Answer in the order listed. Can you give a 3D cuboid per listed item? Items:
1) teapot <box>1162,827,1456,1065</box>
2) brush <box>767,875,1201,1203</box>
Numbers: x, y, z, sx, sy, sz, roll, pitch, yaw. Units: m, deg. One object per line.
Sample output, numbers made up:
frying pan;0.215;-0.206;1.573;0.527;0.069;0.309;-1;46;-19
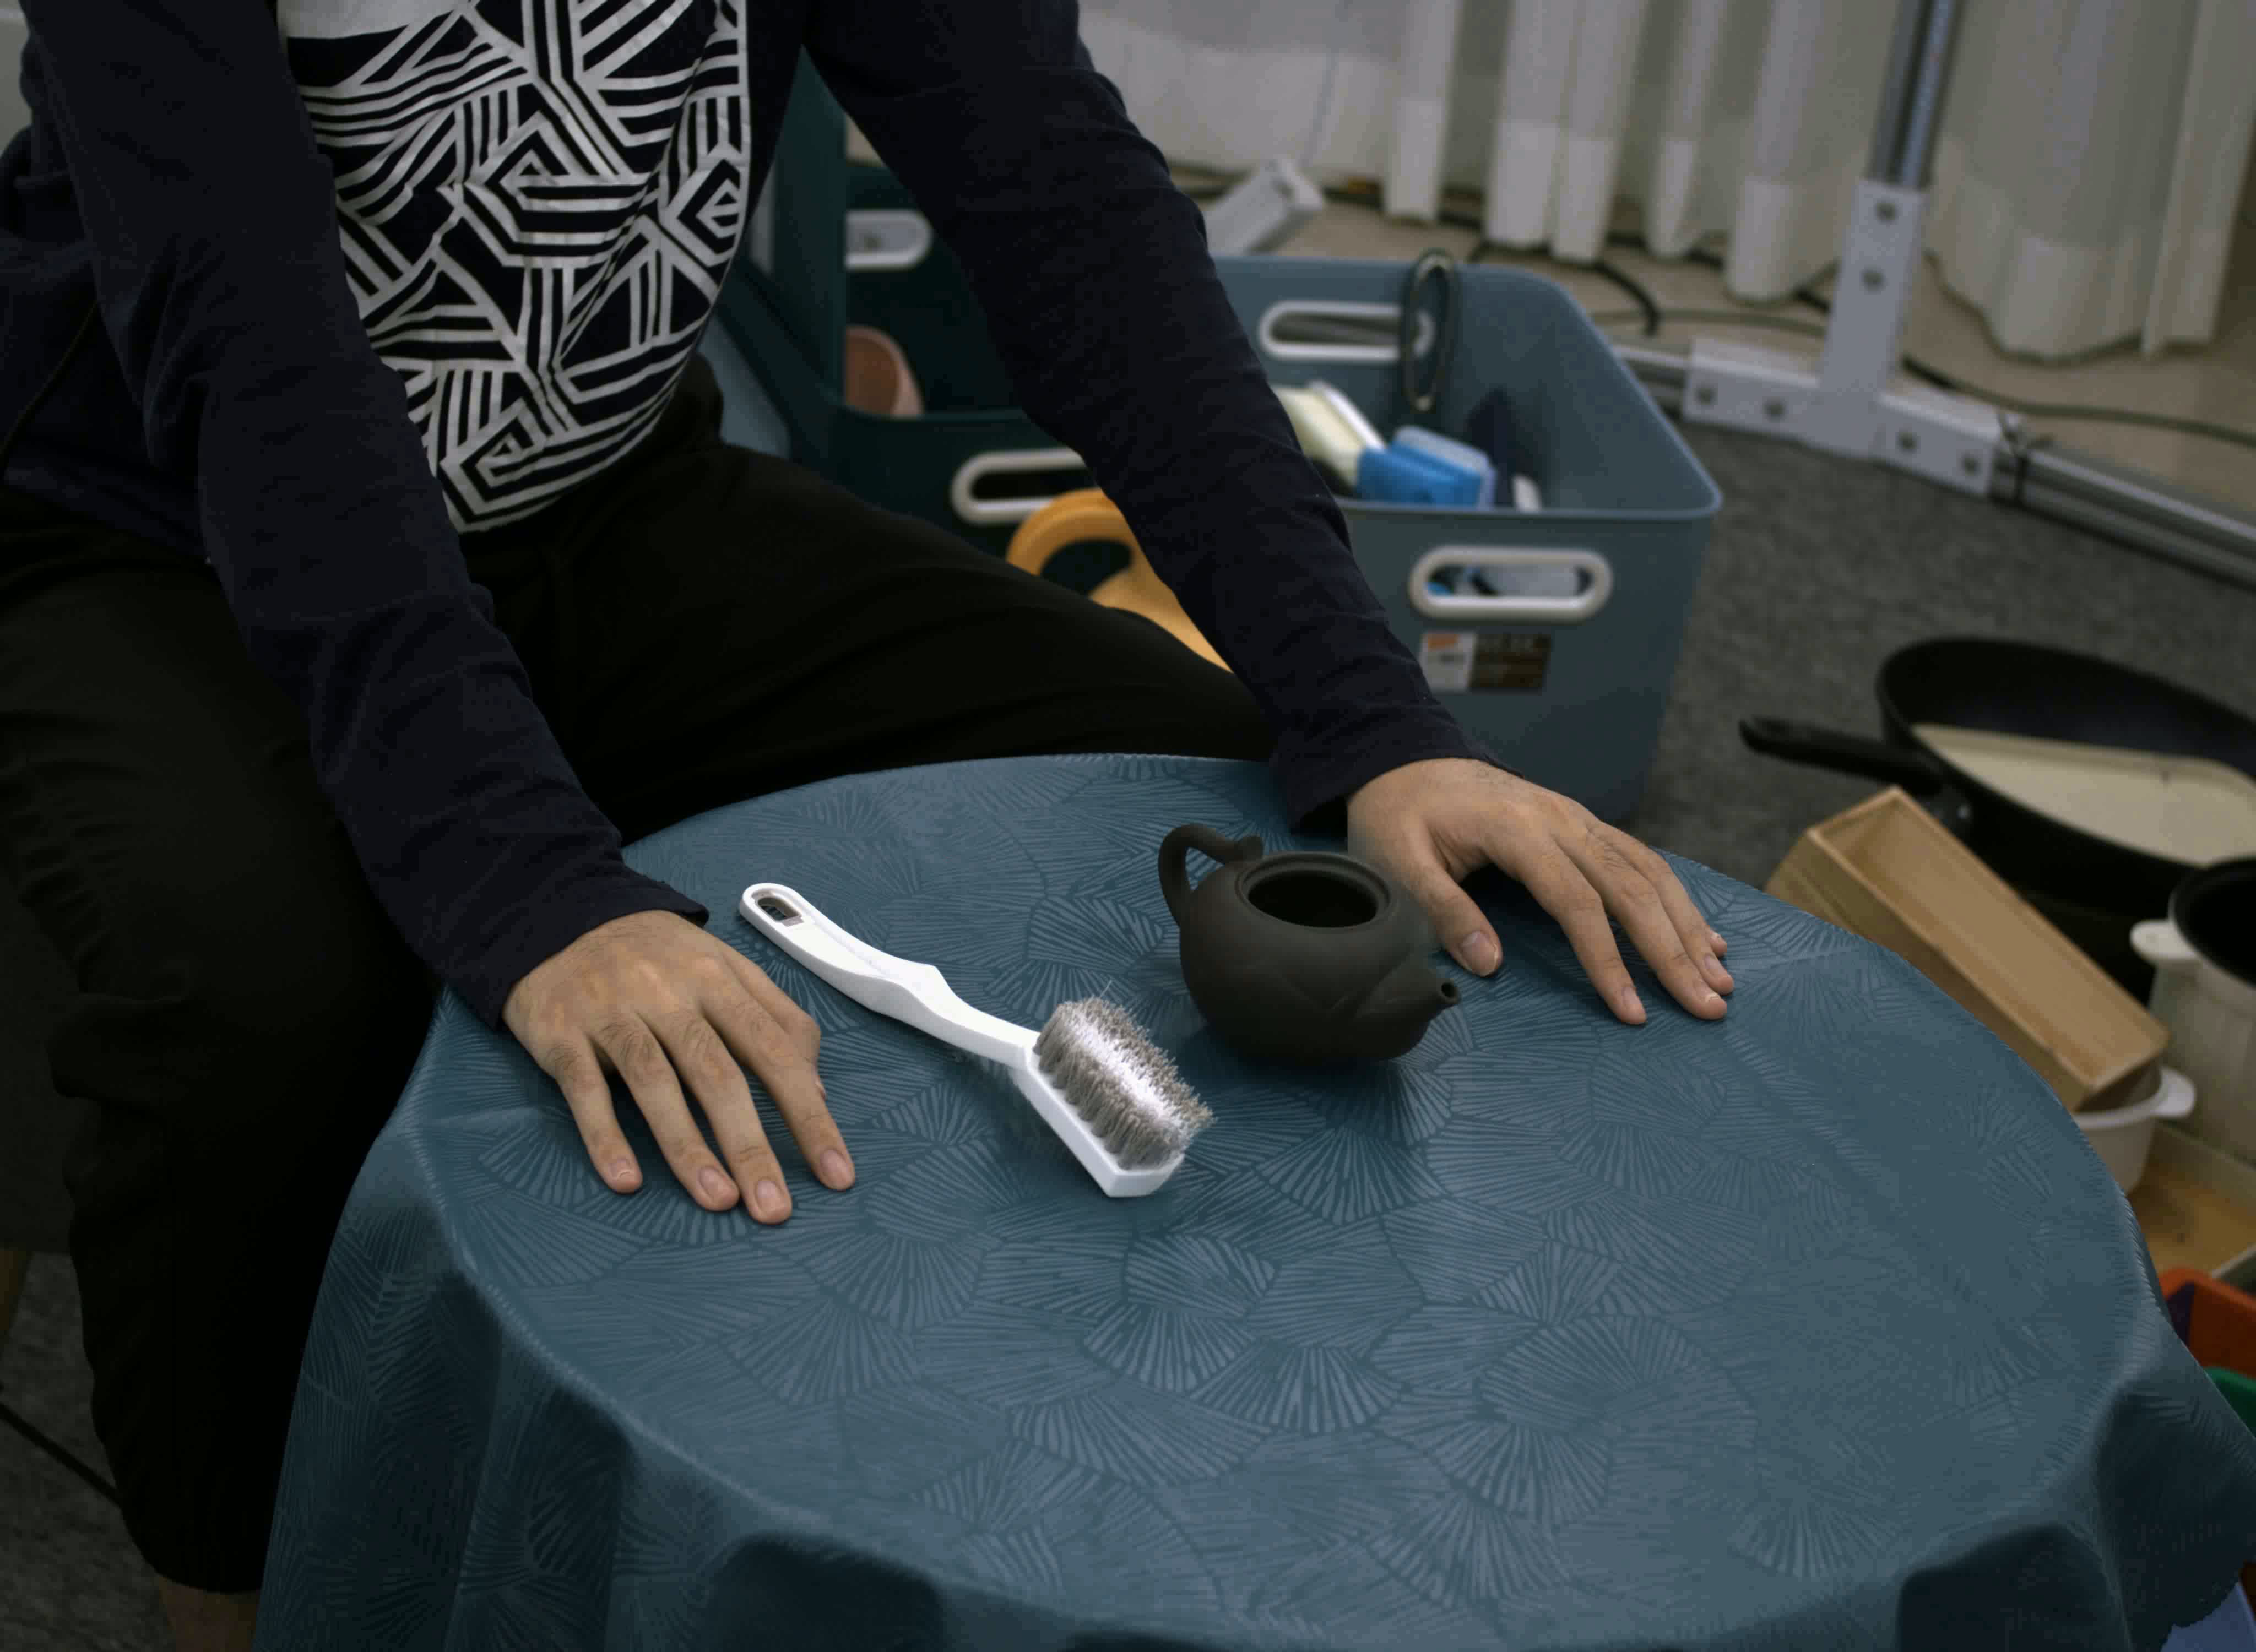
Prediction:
teapot;0.062;0.046;1.906;0.092;0.064;0.155;-16;34;-36
brush;-0.056;0.057;1.871;0.034;0.050;0.246;-18;36;-31
